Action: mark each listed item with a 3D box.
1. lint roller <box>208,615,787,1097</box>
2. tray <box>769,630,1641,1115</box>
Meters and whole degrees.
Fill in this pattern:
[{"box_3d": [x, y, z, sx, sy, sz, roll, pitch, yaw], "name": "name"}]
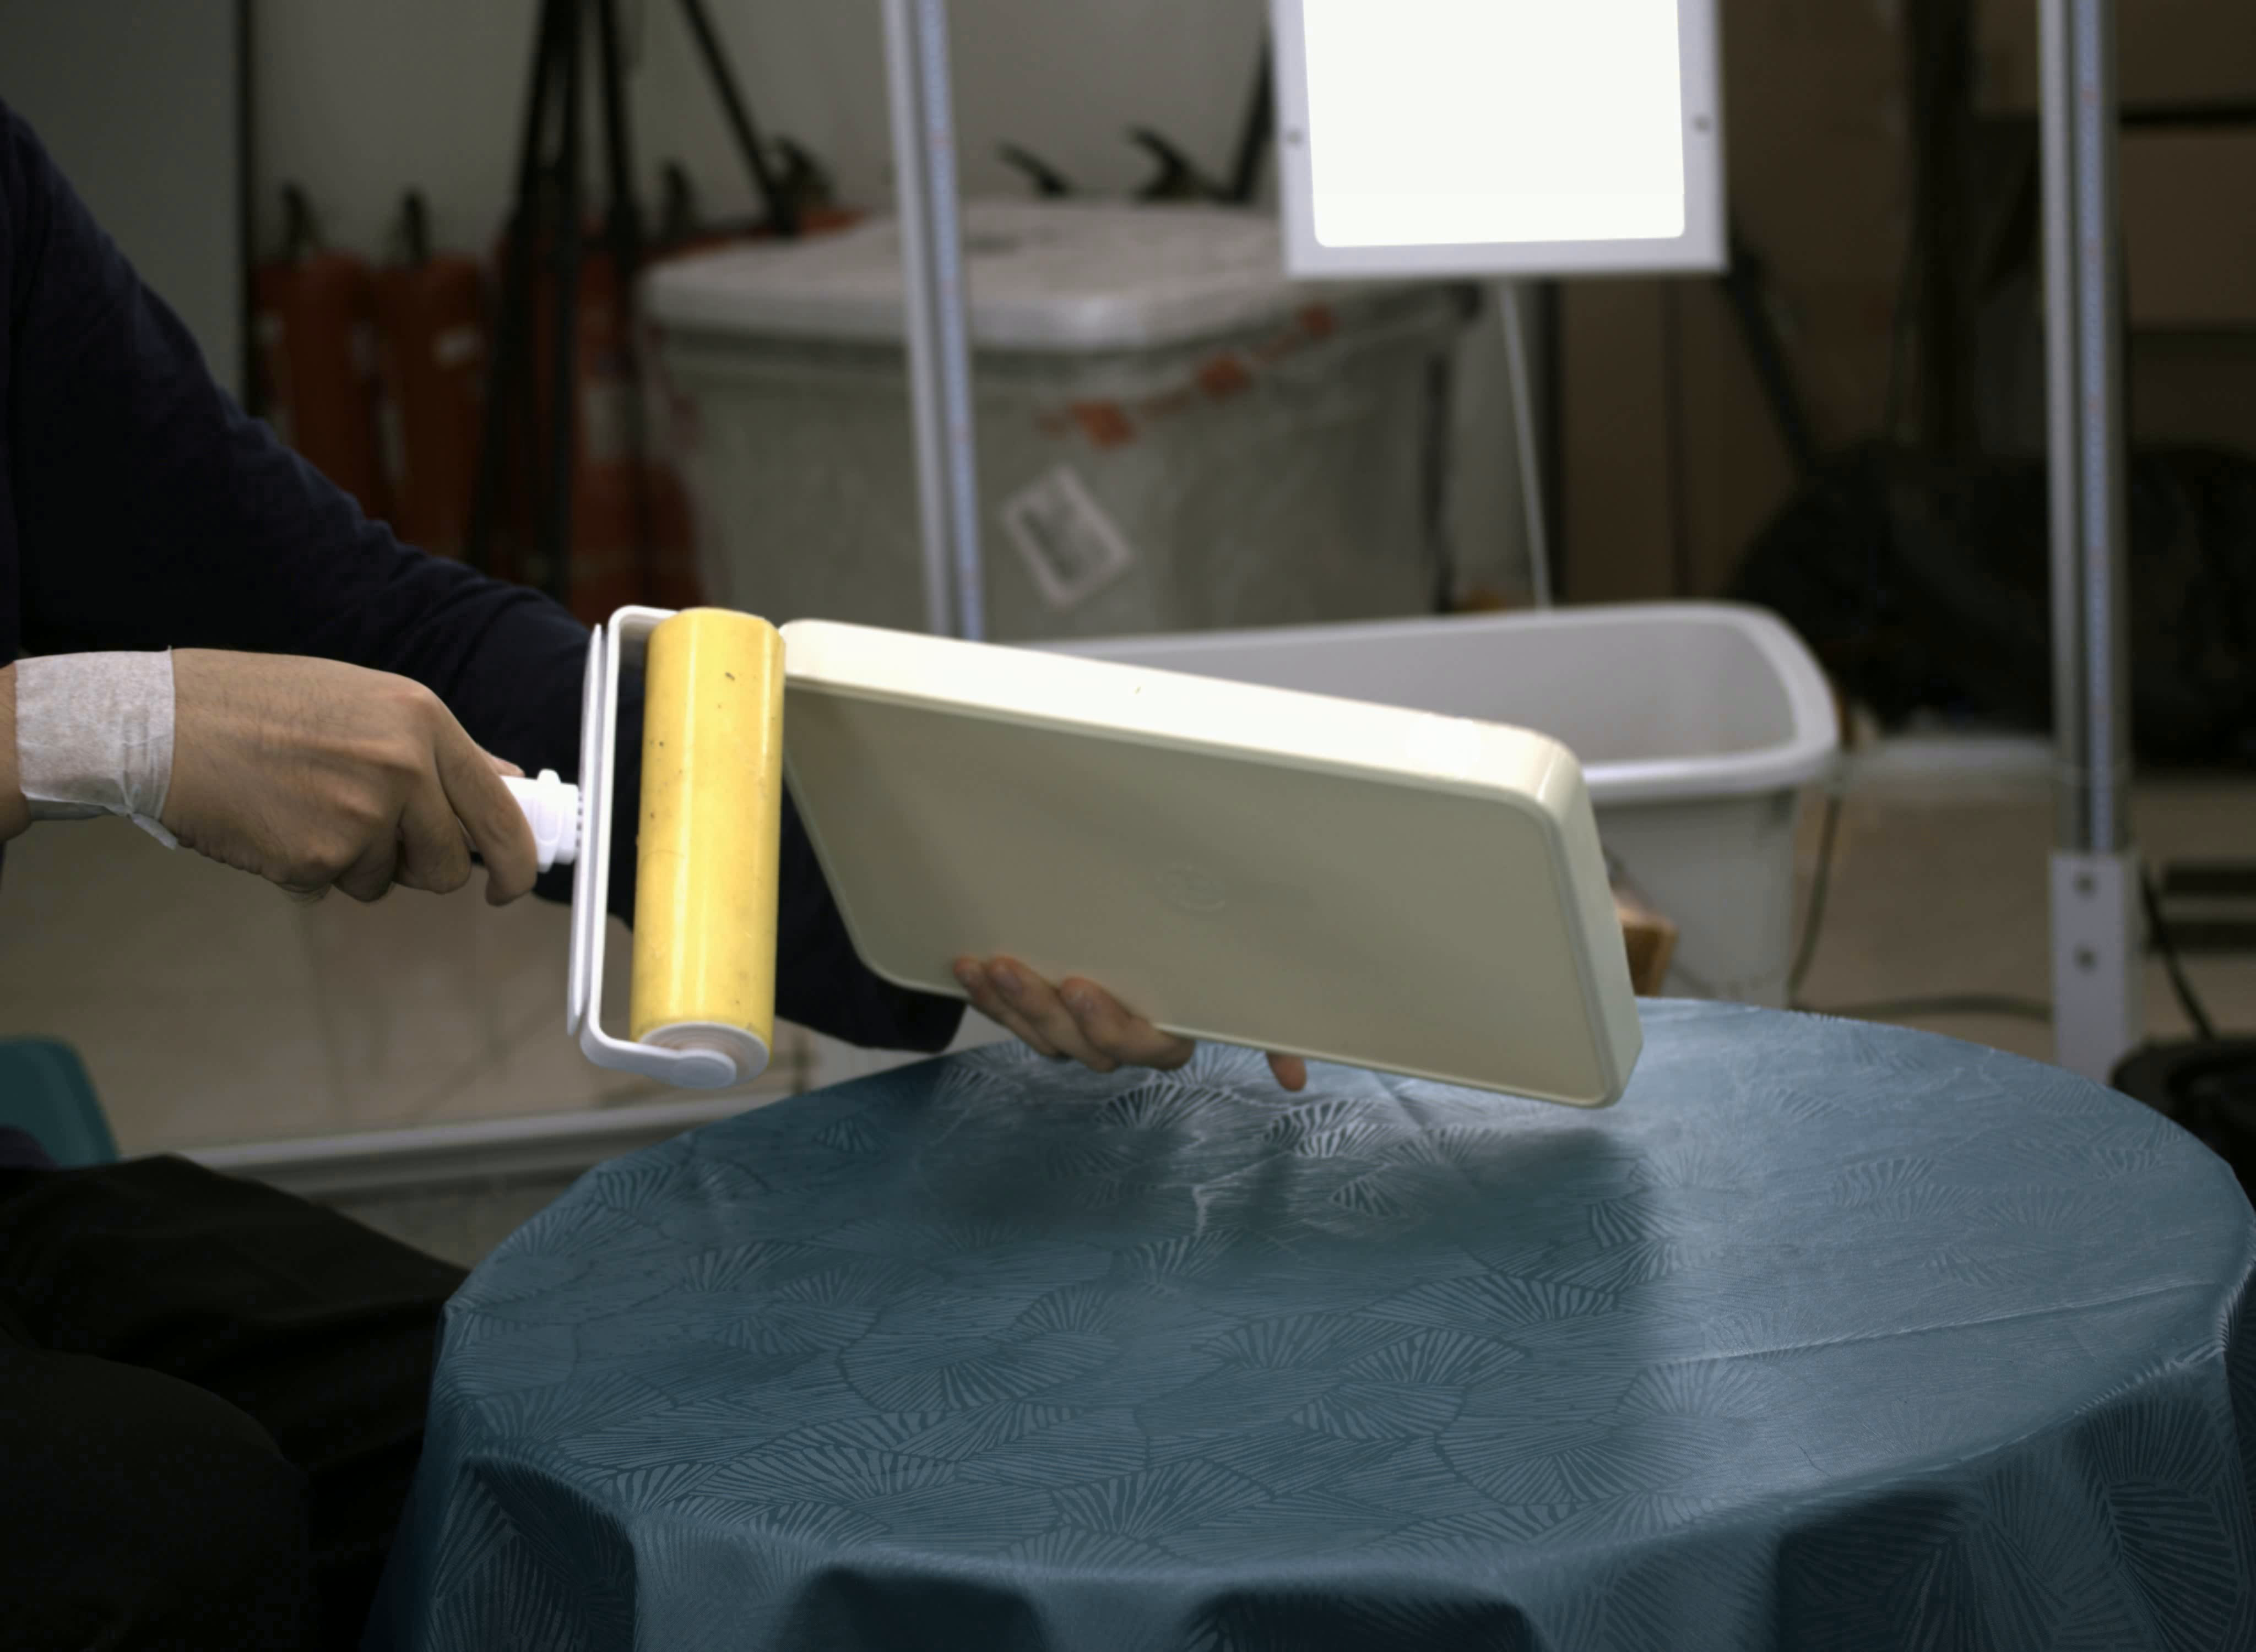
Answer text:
[{"box_3d": [-0.203, -0.004, 1.812, 0.189, 0.174, 0.052, 12, -34, -21], "name": "lint roller"}, {"box_3d": [0.024, 0.017, 1.922, 0.305, 0.191, 0.027, 9, 57, 24], "name": "tray"}]
